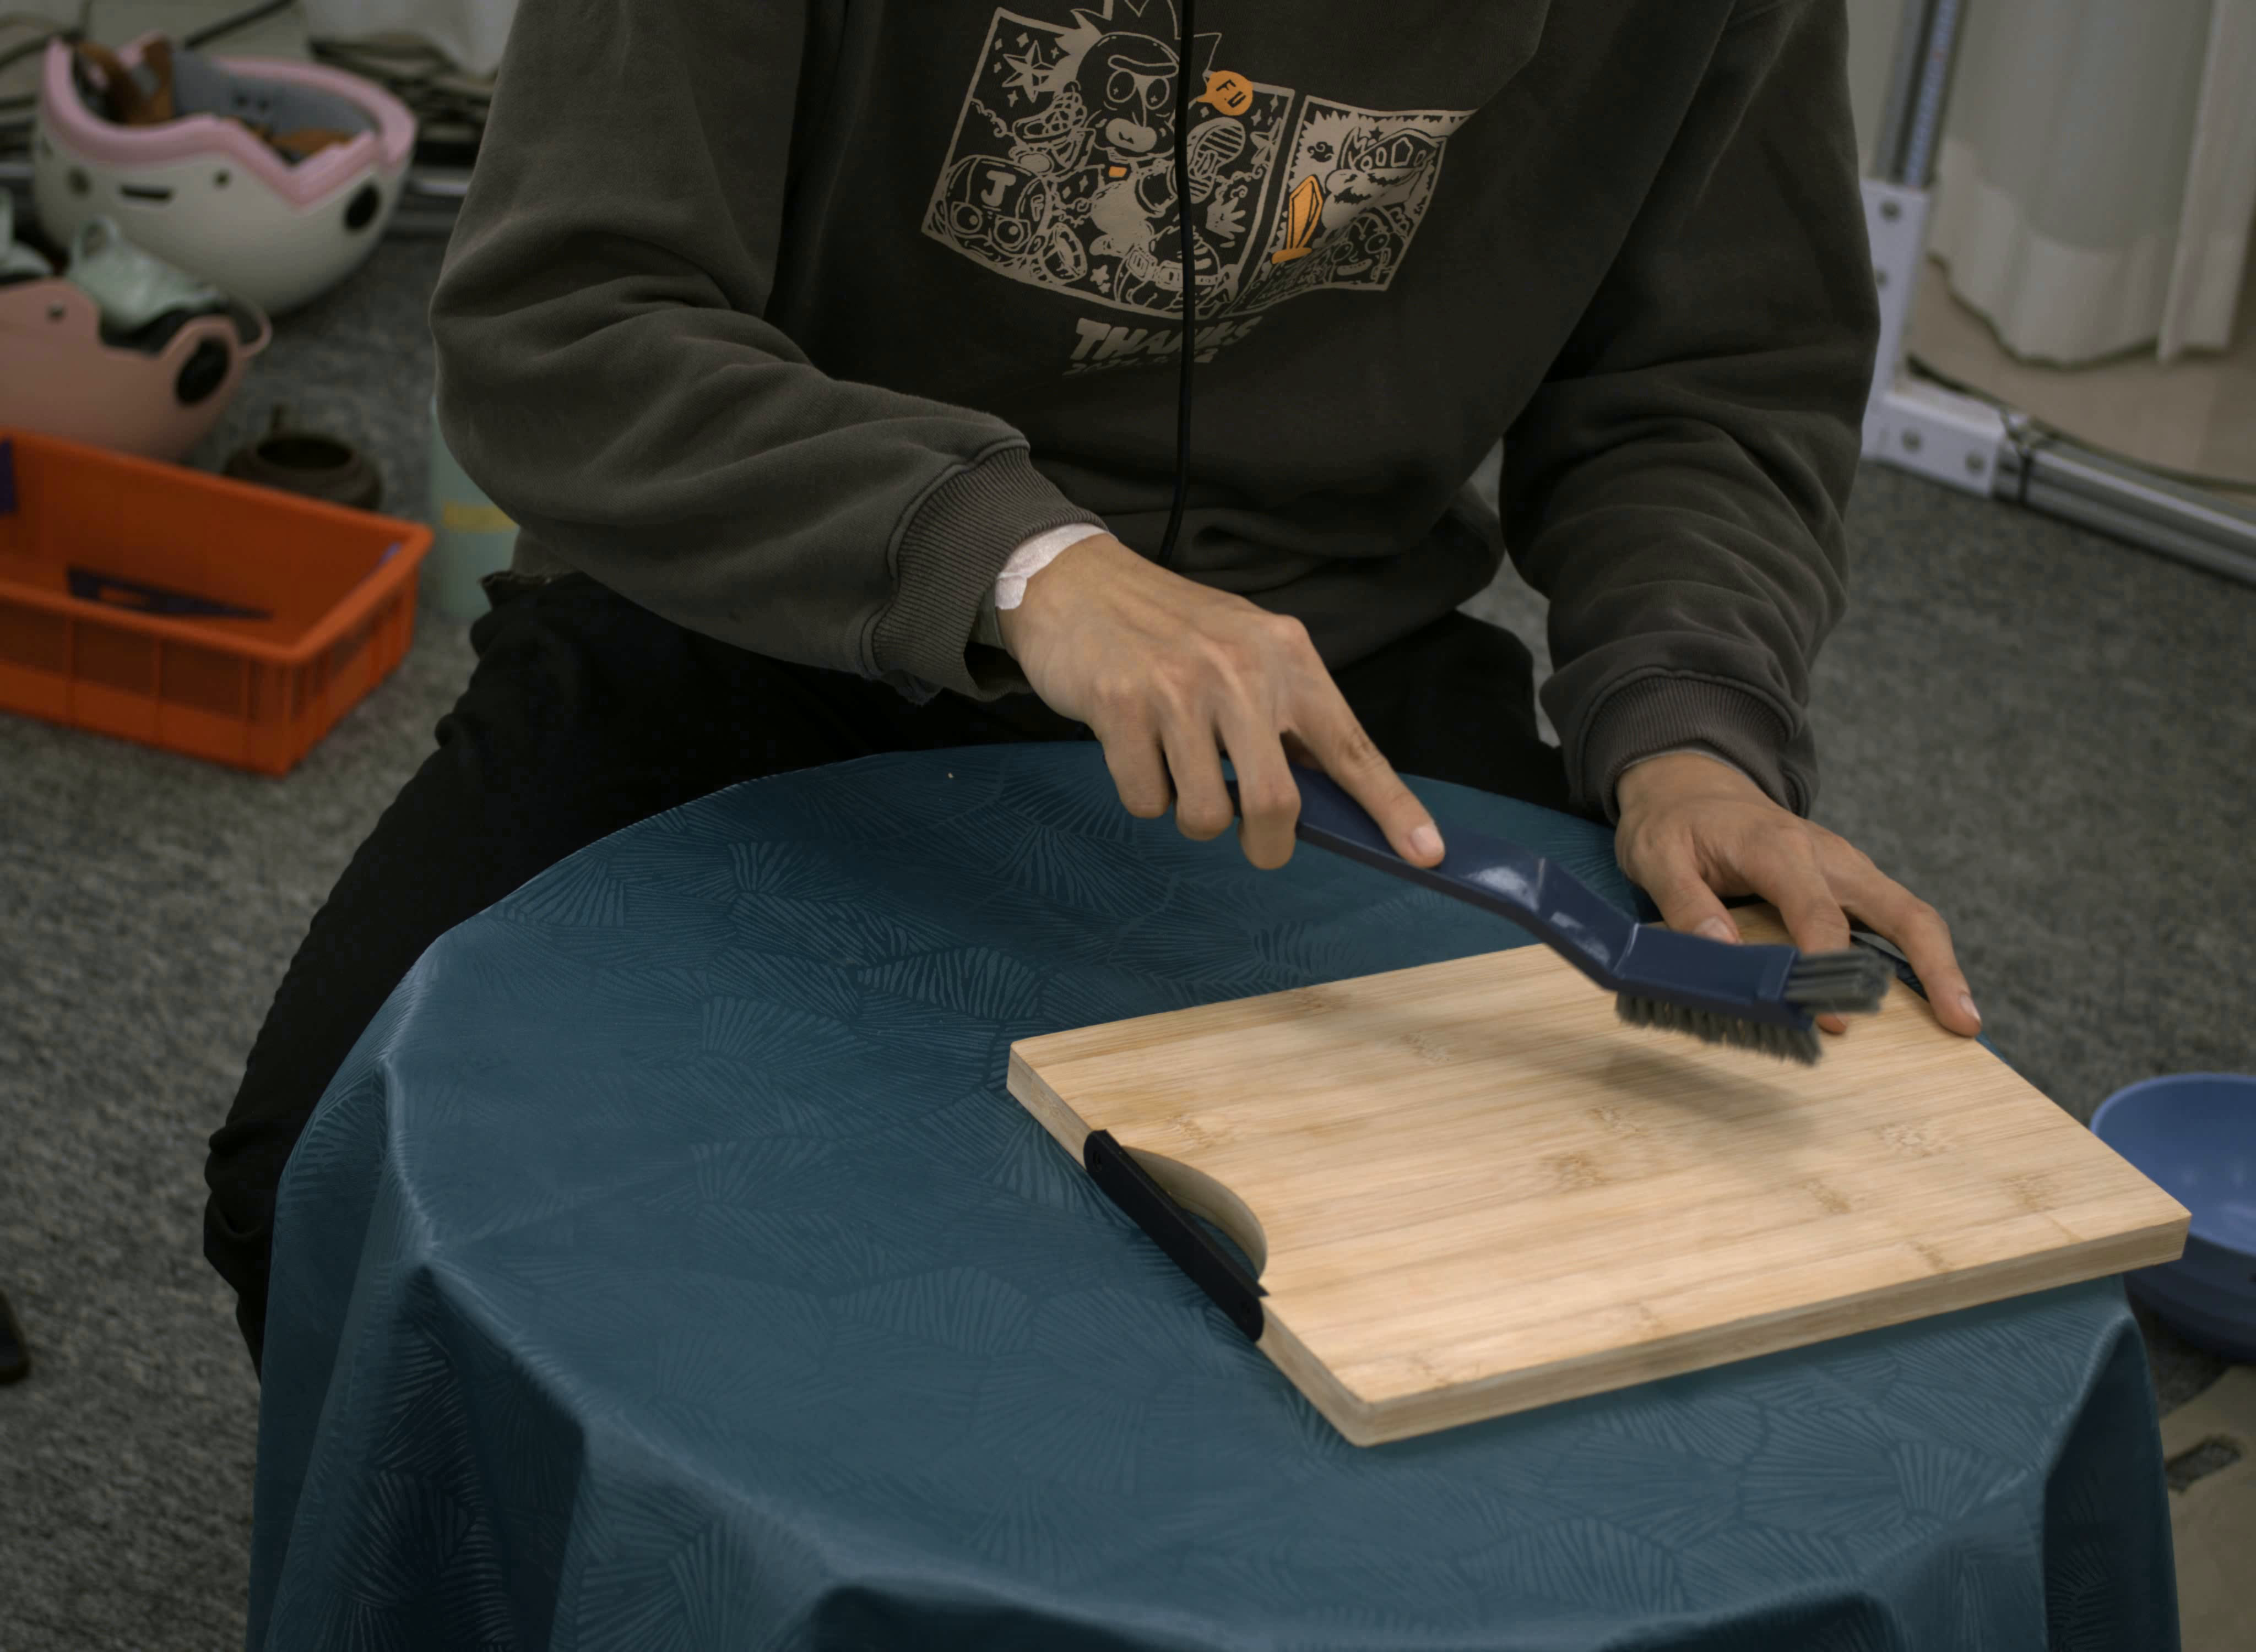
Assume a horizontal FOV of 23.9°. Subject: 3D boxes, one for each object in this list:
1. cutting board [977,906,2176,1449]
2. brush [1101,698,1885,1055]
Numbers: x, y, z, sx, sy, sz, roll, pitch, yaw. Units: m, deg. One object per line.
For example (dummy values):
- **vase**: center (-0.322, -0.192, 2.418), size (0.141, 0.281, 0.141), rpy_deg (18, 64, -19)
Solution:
- **cutting board**: center (0.156, 0.114, 1.840), size (0.346, 0.023, 0.253), rpy_deg (-9, 30, -29)
- **brush**: center (0.124, 0.011, 1.846), size (0.273, 0.095, 0.033), rpy_deg (25, 61, 1)
